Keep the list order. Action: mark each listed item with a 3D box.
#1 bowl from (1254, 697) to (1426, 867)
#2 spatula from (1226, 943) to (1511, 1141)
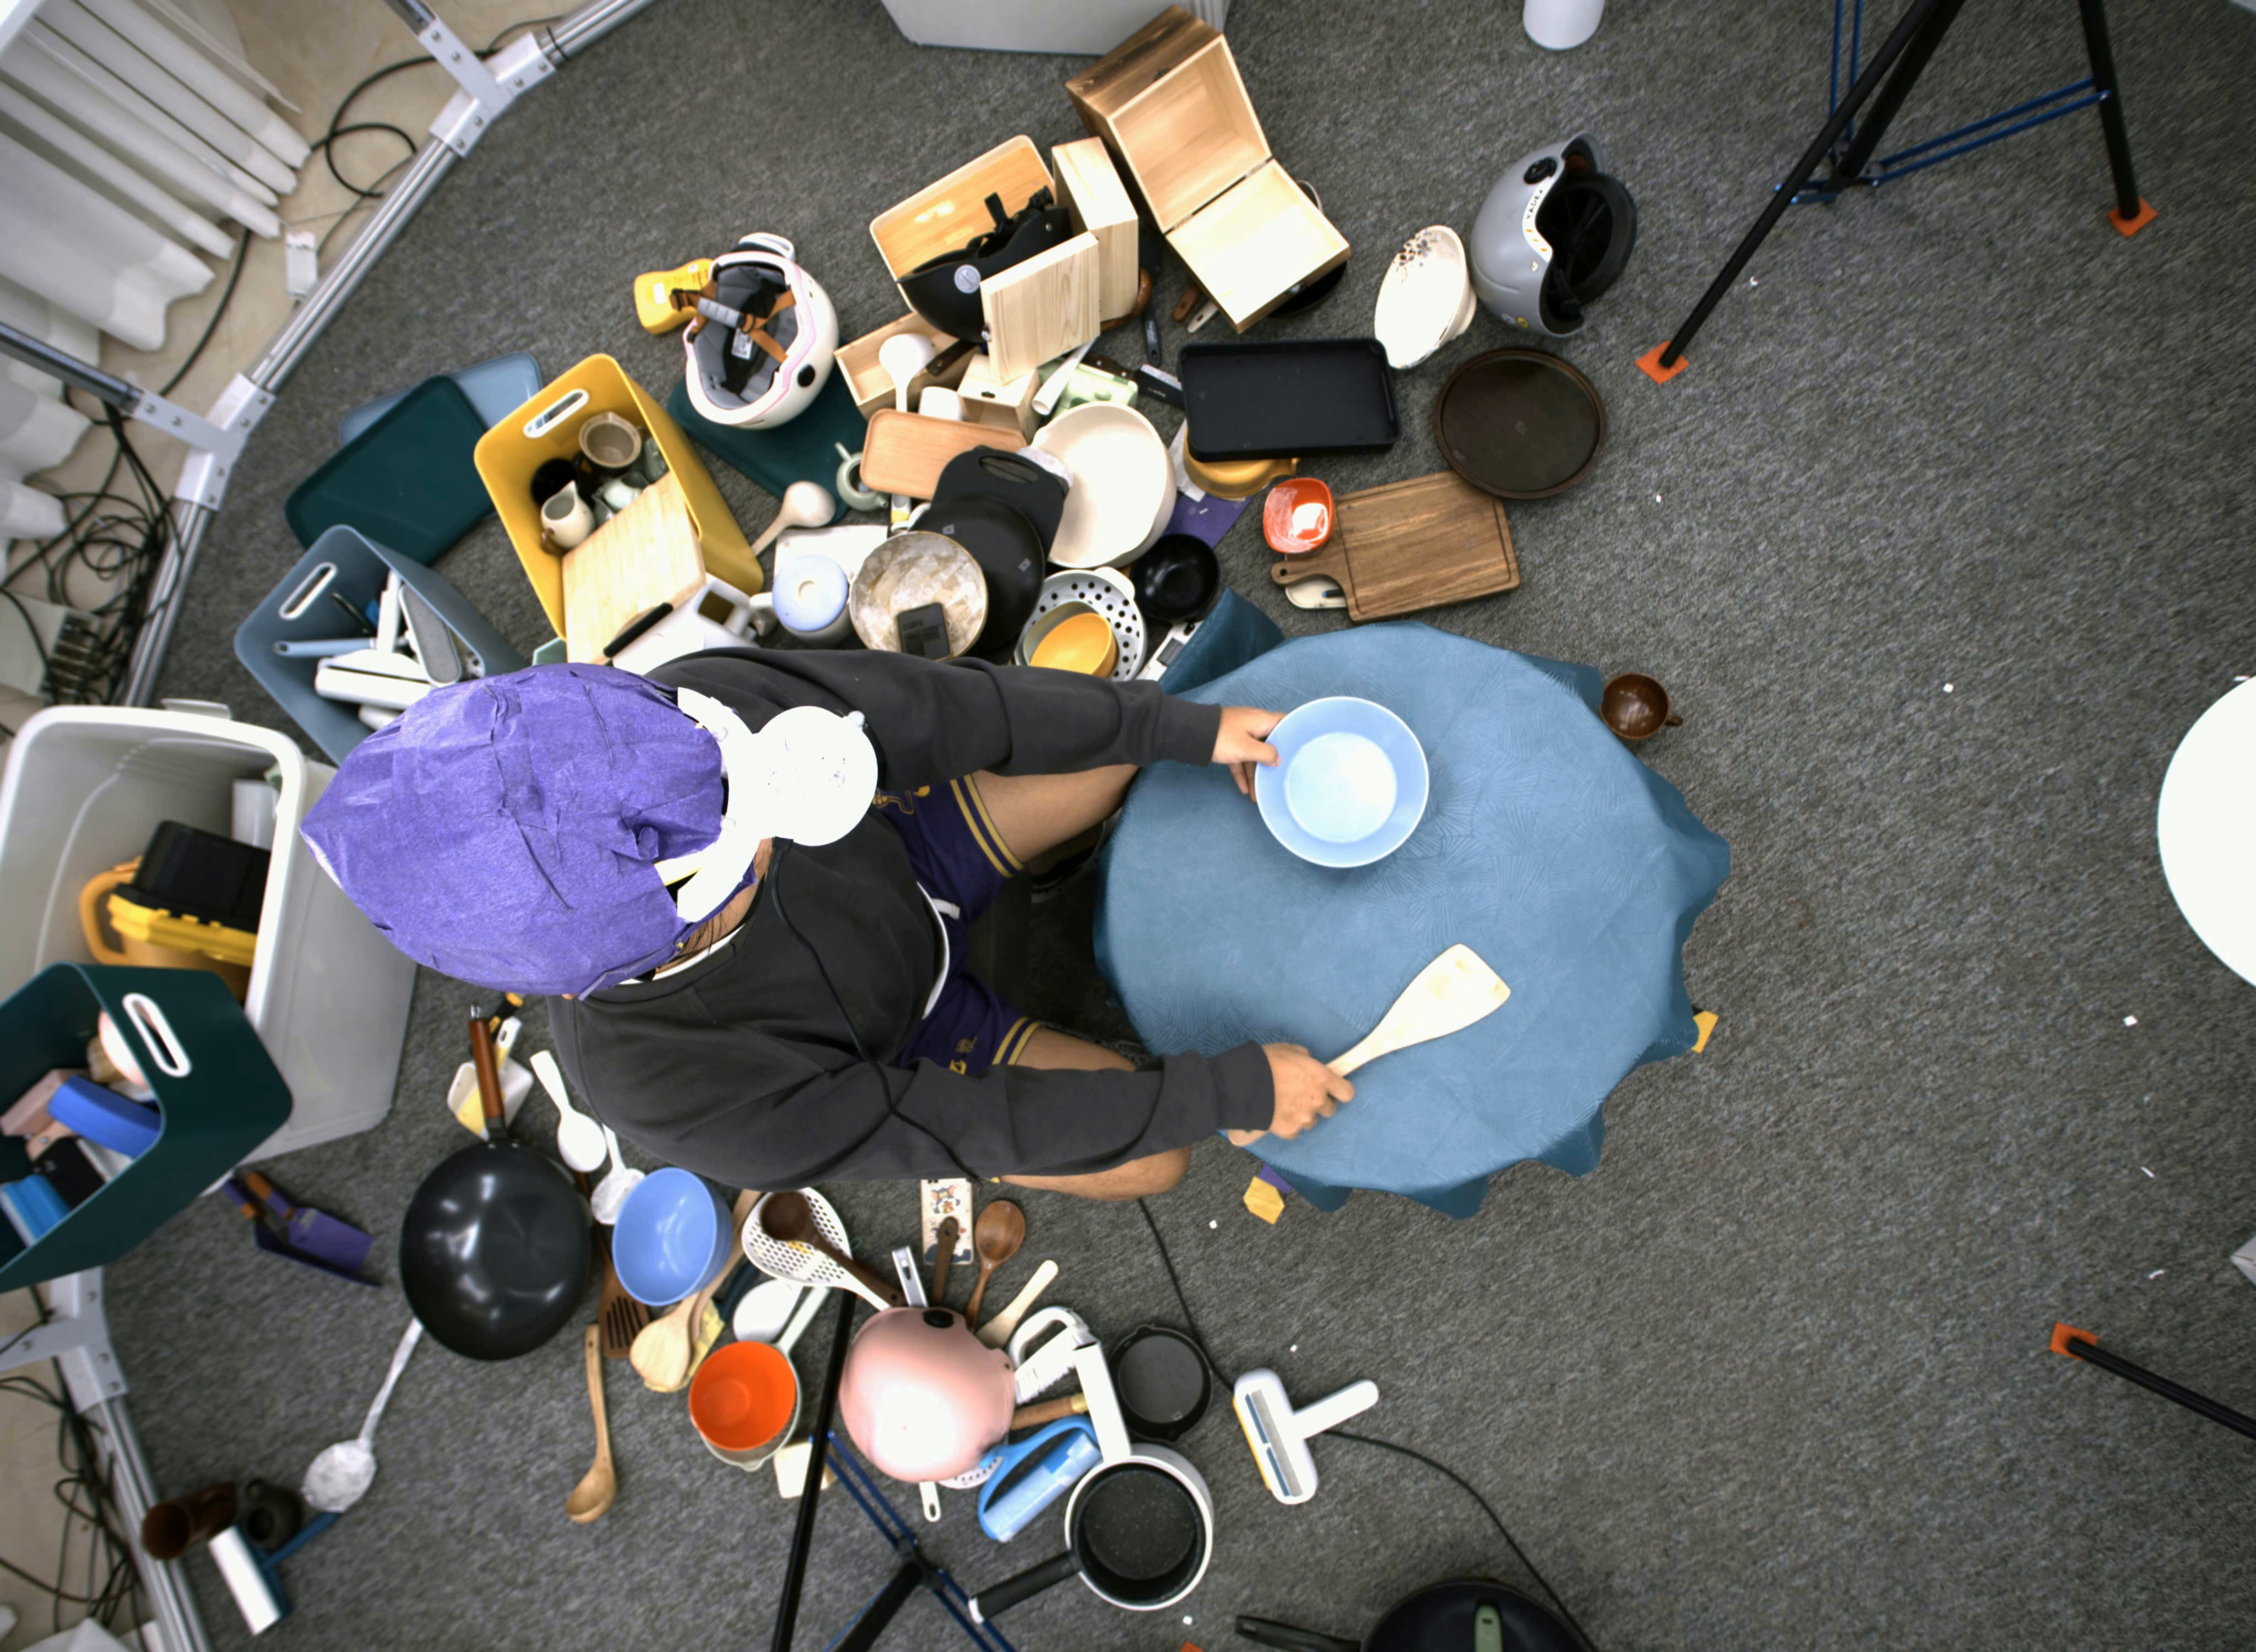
[{"bbox_3d":[0.220,-0.044,1.437,0.176,0.070,0.175,-1,88,9],"label":"bowl"},{"bbox_3d":[0.242,0.231,1.438,0.328,0.016,0.079,-32,82,0],"label":"spatula"}]
